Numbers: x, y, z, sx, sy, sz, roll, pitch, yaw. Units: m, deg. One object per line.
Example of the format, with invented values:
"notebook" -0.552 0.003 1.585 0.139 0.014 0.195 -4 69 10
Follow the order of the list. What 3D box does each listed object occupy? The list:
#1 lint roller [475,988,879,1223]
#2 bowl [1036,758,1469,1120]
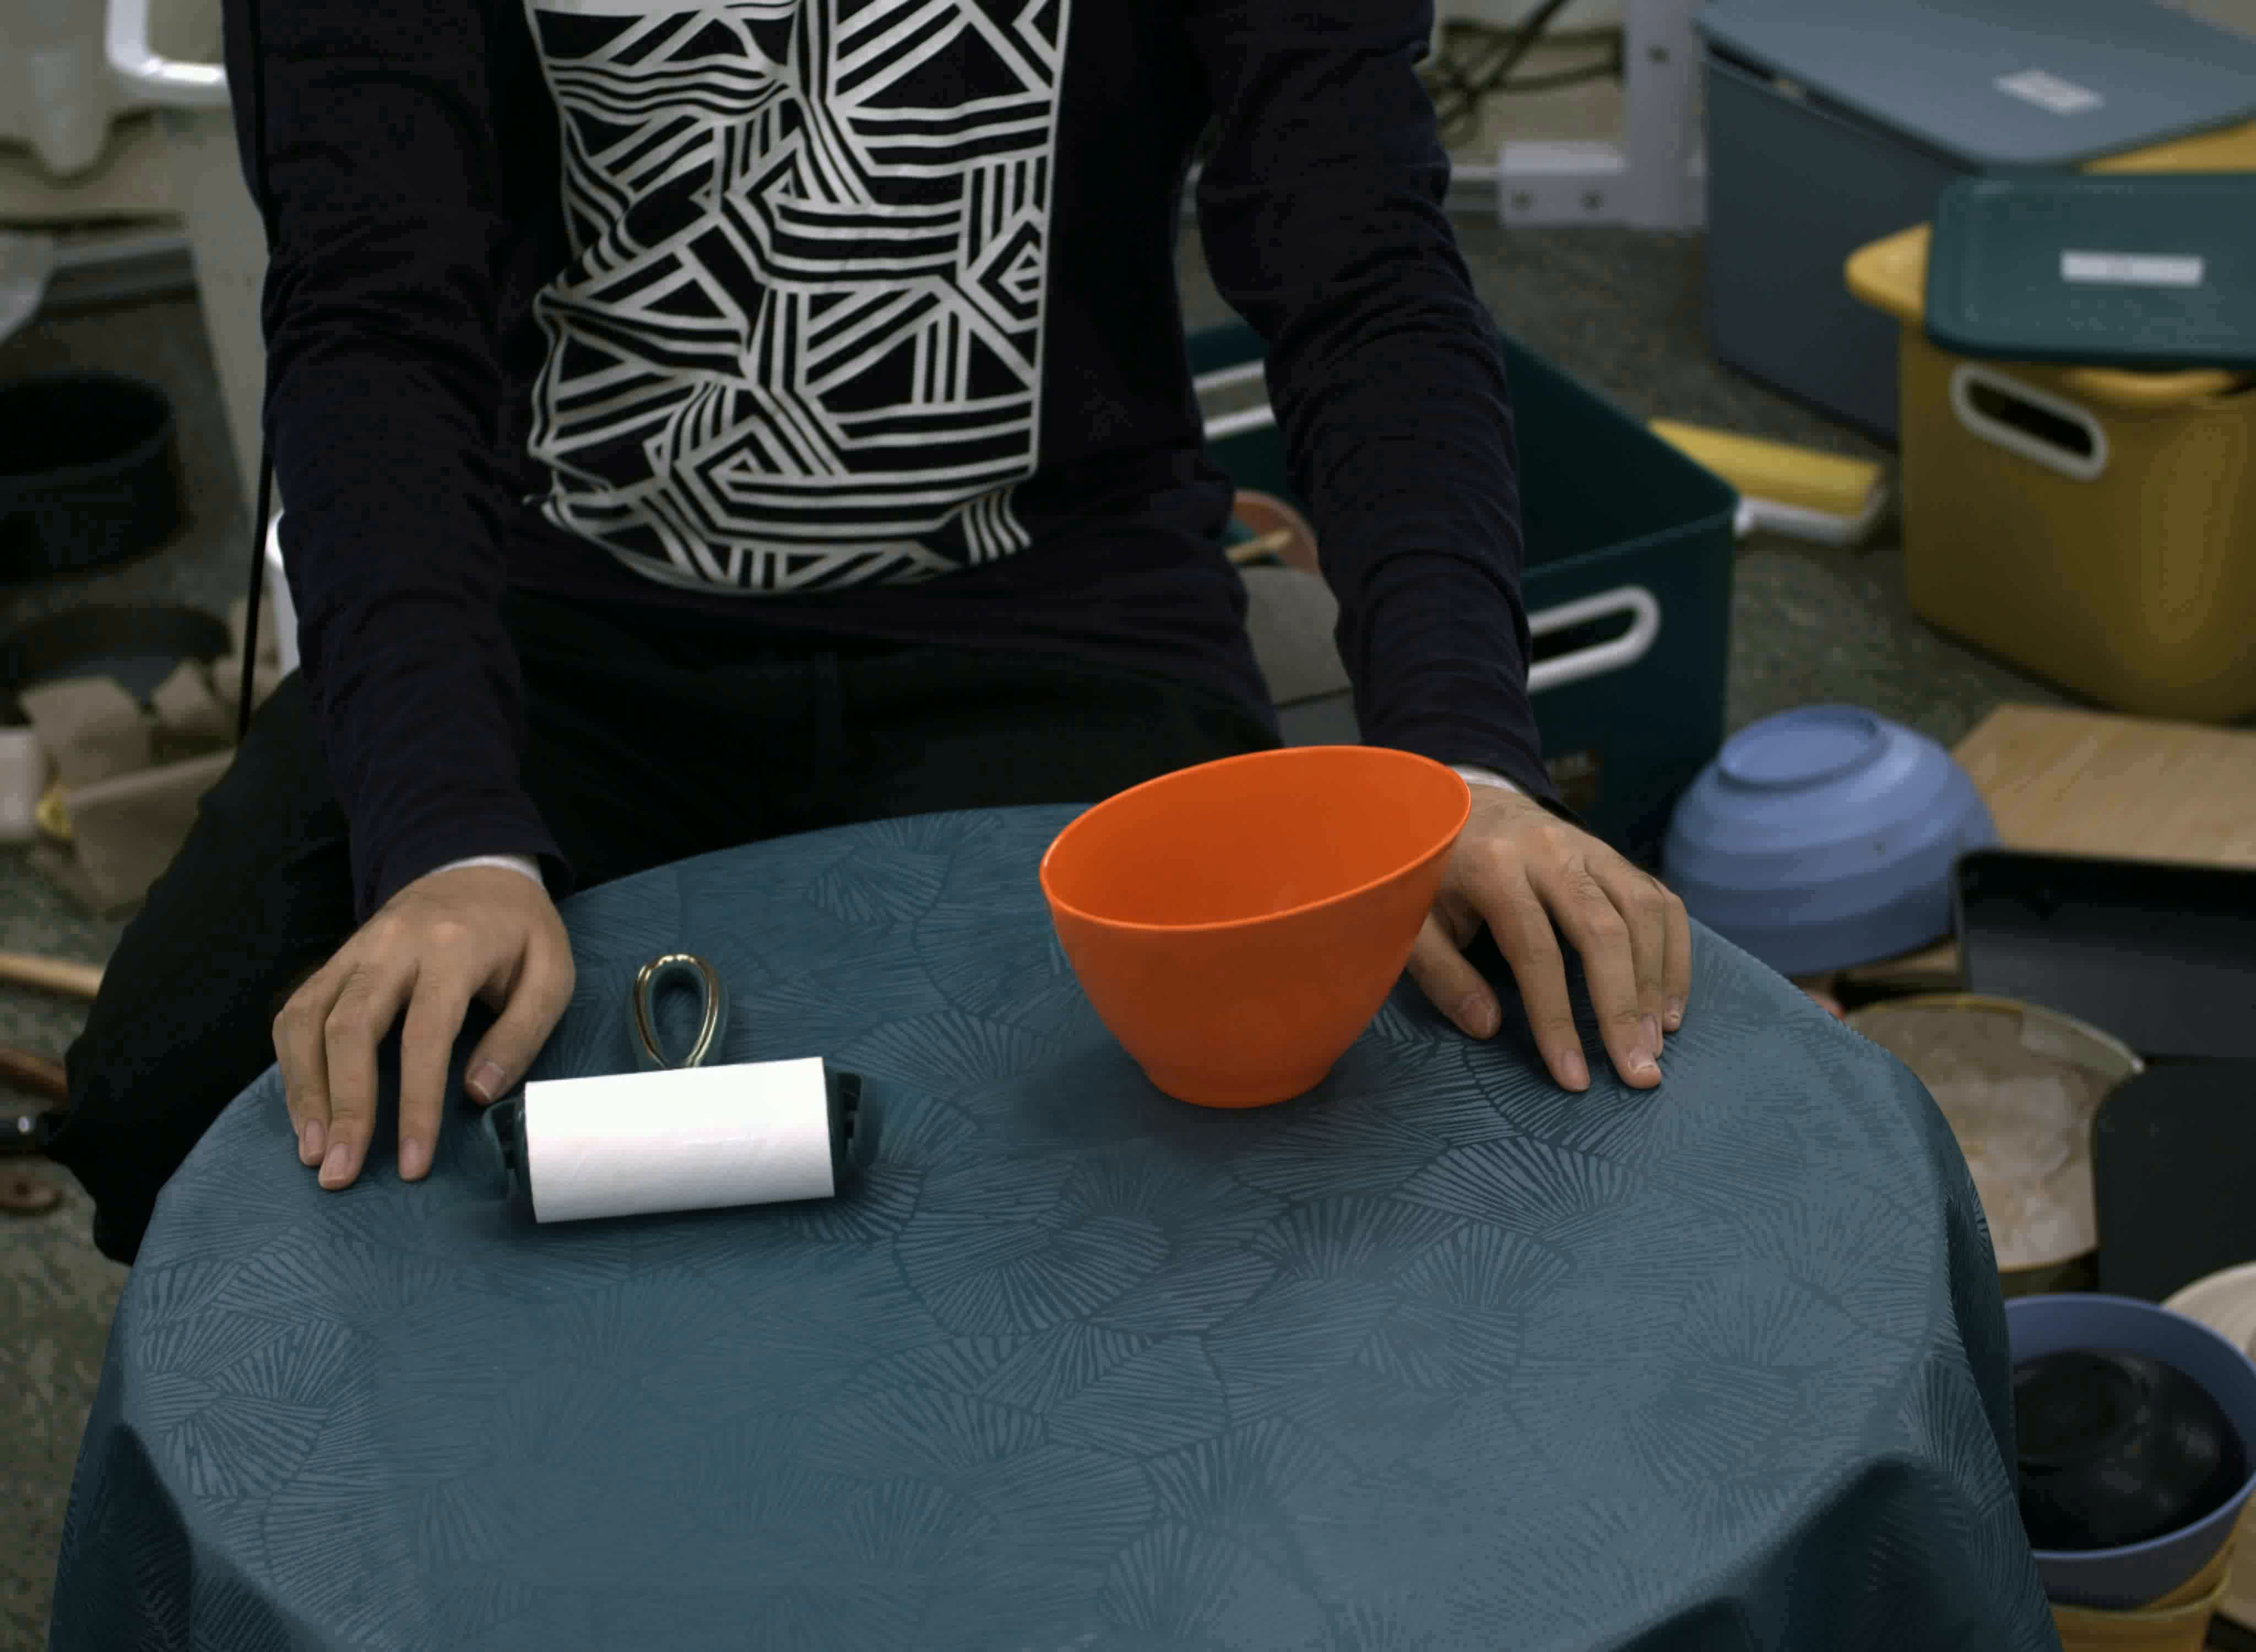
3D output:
"lint roller" -0.155 0.077 1.920 0.134 0.048 0.182 -5 24 -4
"bowl" 0.044 0.042 1.908 0.147 0.103 0.150 -3 24 2
